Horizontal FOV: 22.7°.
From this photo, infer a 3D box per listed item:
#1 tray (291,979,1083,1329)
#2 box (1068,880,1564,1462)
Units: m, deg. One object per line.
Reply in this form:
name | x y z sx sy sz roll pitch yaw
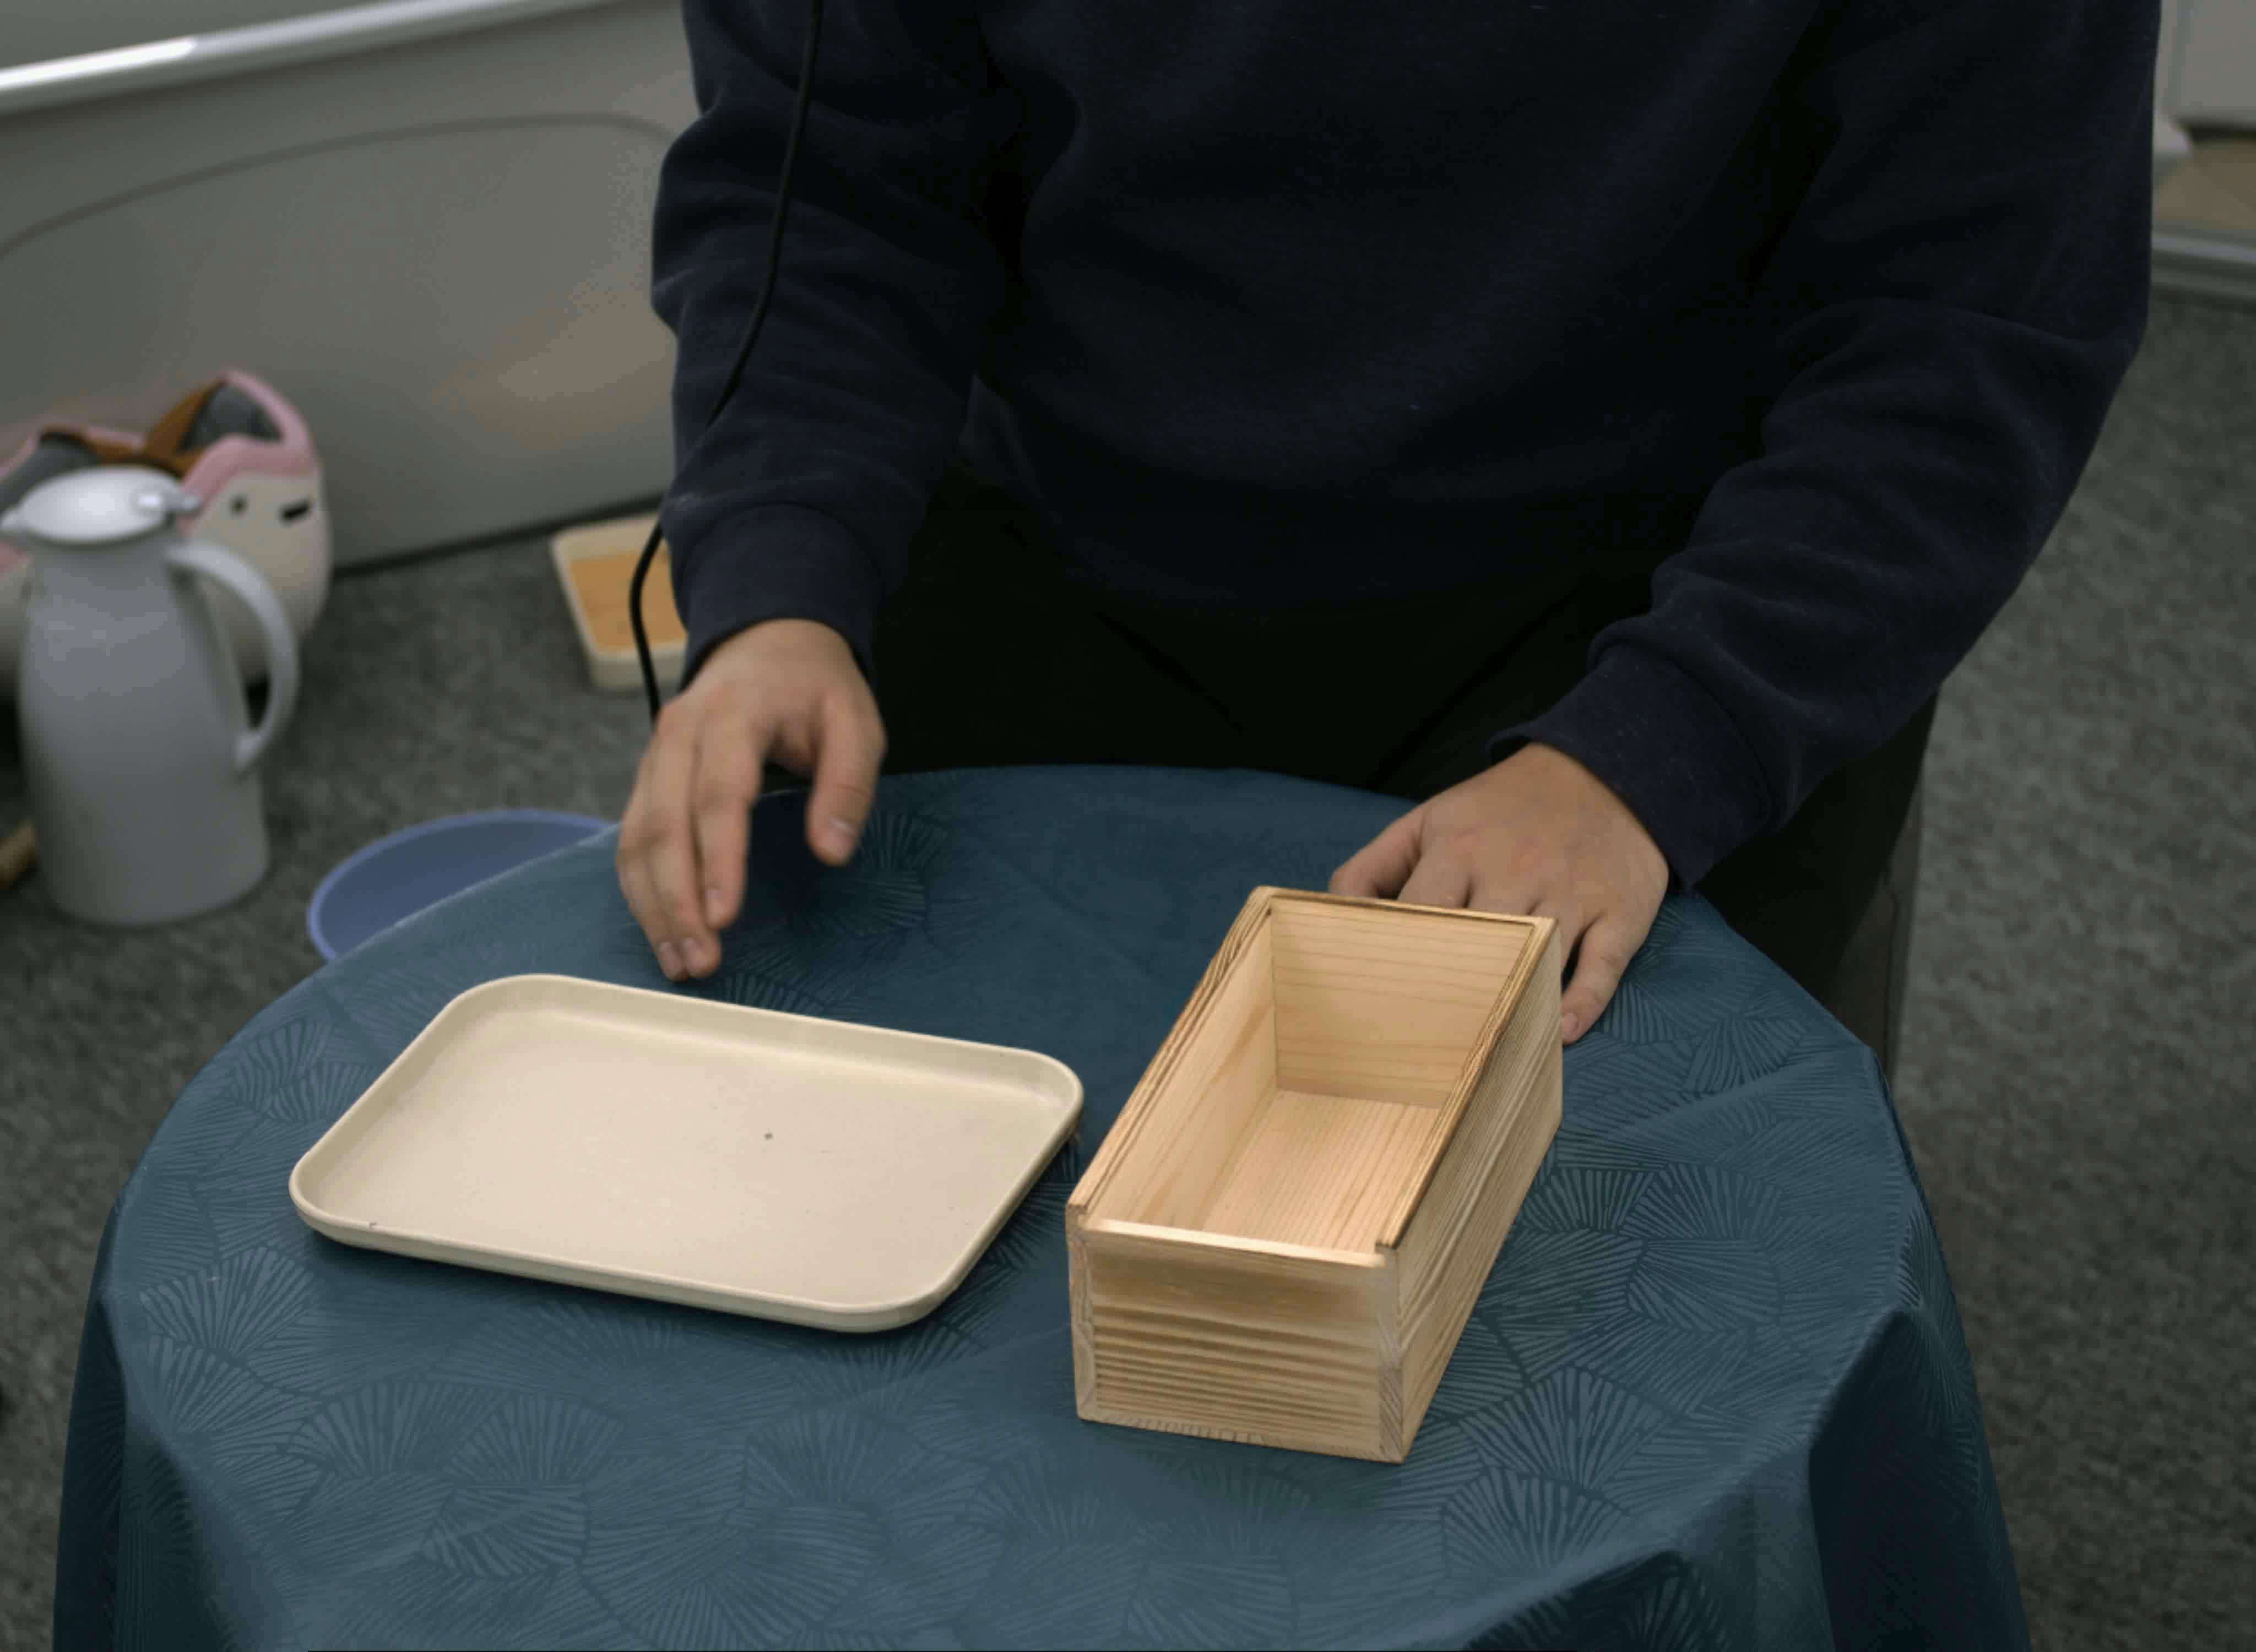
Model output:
tray | -0.146 0.110 1.881 0.238 0.017 0.174 8 28 19
box | 0.064 0.107 1.802 0.107 0.079 0.215 6 28 16
